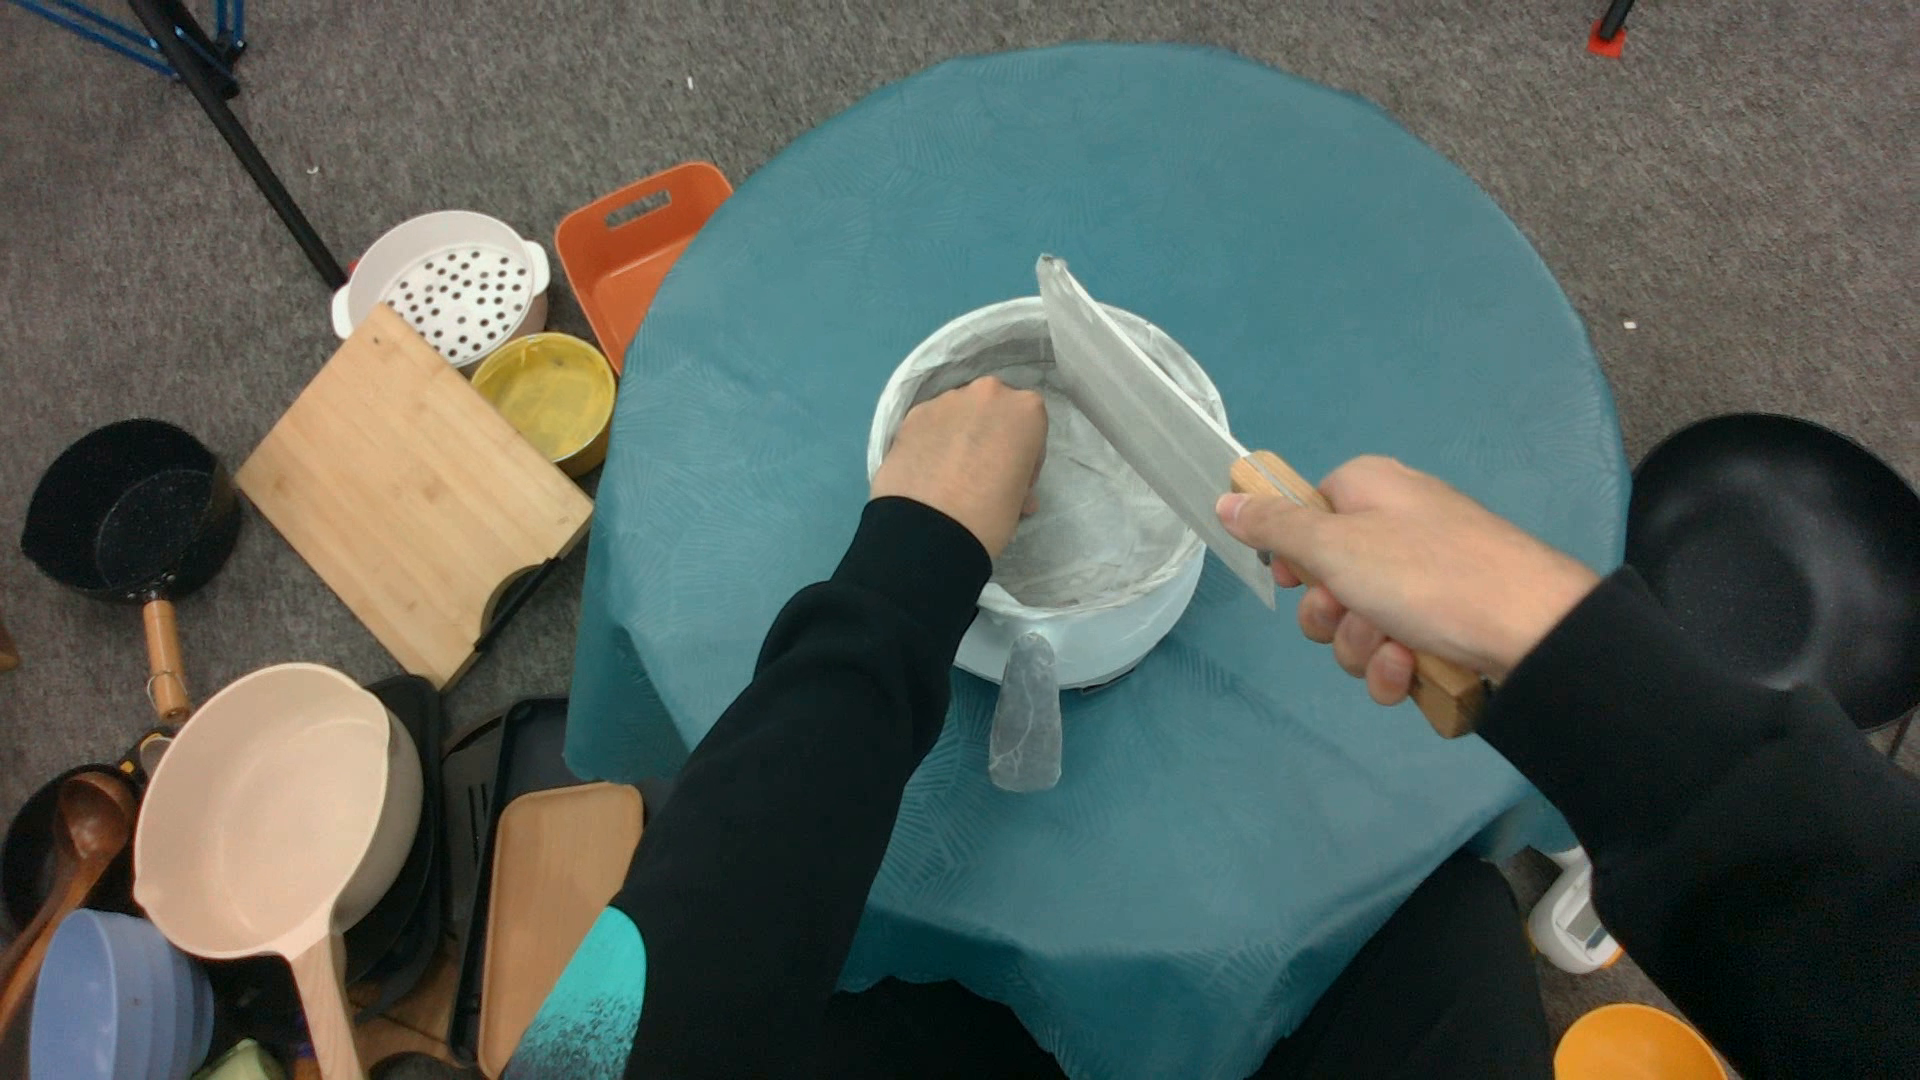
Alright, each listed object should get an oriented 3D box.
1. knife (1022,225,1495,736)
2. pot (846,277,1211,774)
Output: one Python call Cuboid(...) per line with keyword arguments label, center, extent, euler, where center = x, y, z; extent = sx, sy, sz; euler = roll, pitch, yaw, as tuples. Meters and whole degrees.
Cuboid(label="knife", center=(0.099, -0.032, 0.557), extent=(0.022, 0.113, 0.316), euler=(-28, 42, -9))
Cuboid(label="pot", center=(0.033, -0.003, 0.713), extent=(0.178, 0.136, 0.234), euler=(3, 66, 3))
